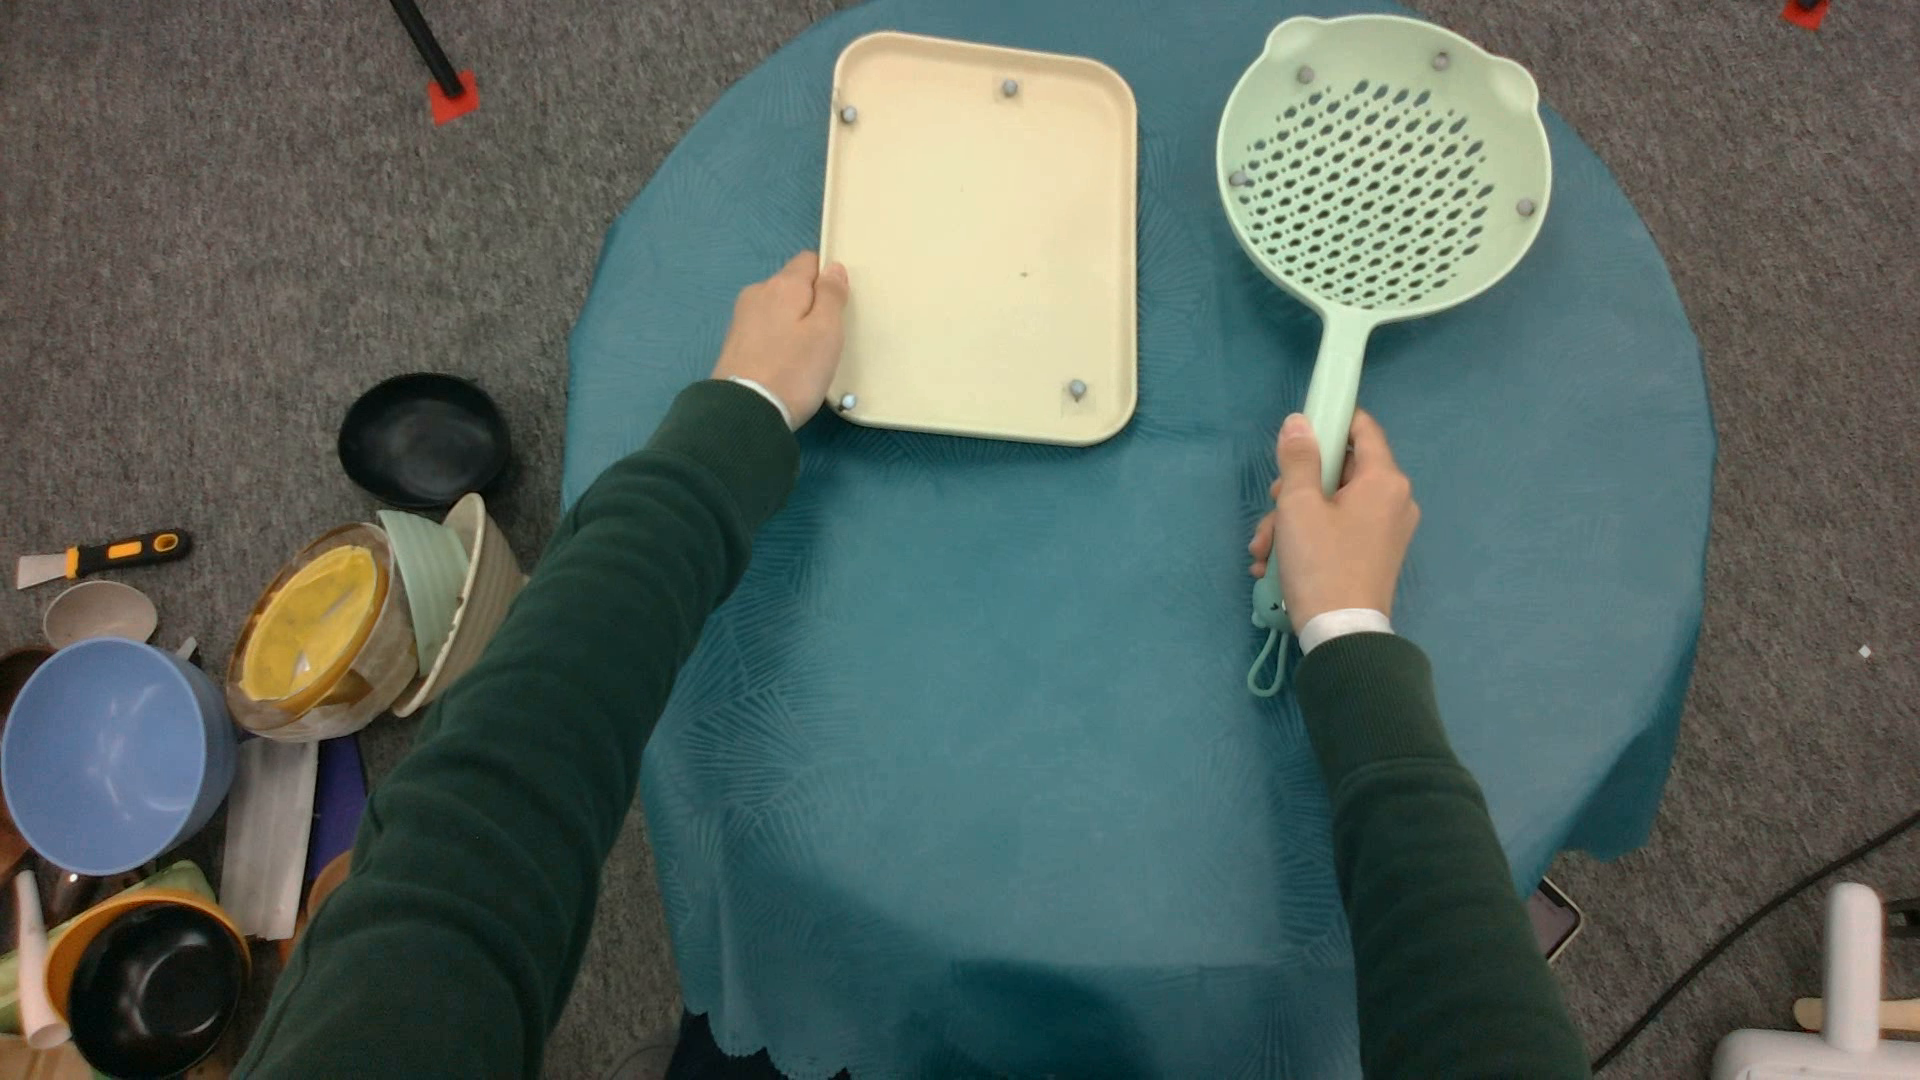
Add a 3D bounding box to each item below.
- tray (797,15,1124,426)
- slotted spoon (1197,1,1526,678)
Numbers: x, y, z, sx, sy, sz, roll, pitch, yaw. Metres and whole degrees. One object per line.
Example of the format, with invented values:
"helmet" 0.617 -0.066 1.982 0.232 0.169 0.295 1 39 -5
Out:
"tray" 0.002 -0.173 0.740 0.171 0.017 0.240 4 70 -8
"slotted spoon" 0.182 -0.108 0.694 0.169 0.075 0.360 14 68 5
